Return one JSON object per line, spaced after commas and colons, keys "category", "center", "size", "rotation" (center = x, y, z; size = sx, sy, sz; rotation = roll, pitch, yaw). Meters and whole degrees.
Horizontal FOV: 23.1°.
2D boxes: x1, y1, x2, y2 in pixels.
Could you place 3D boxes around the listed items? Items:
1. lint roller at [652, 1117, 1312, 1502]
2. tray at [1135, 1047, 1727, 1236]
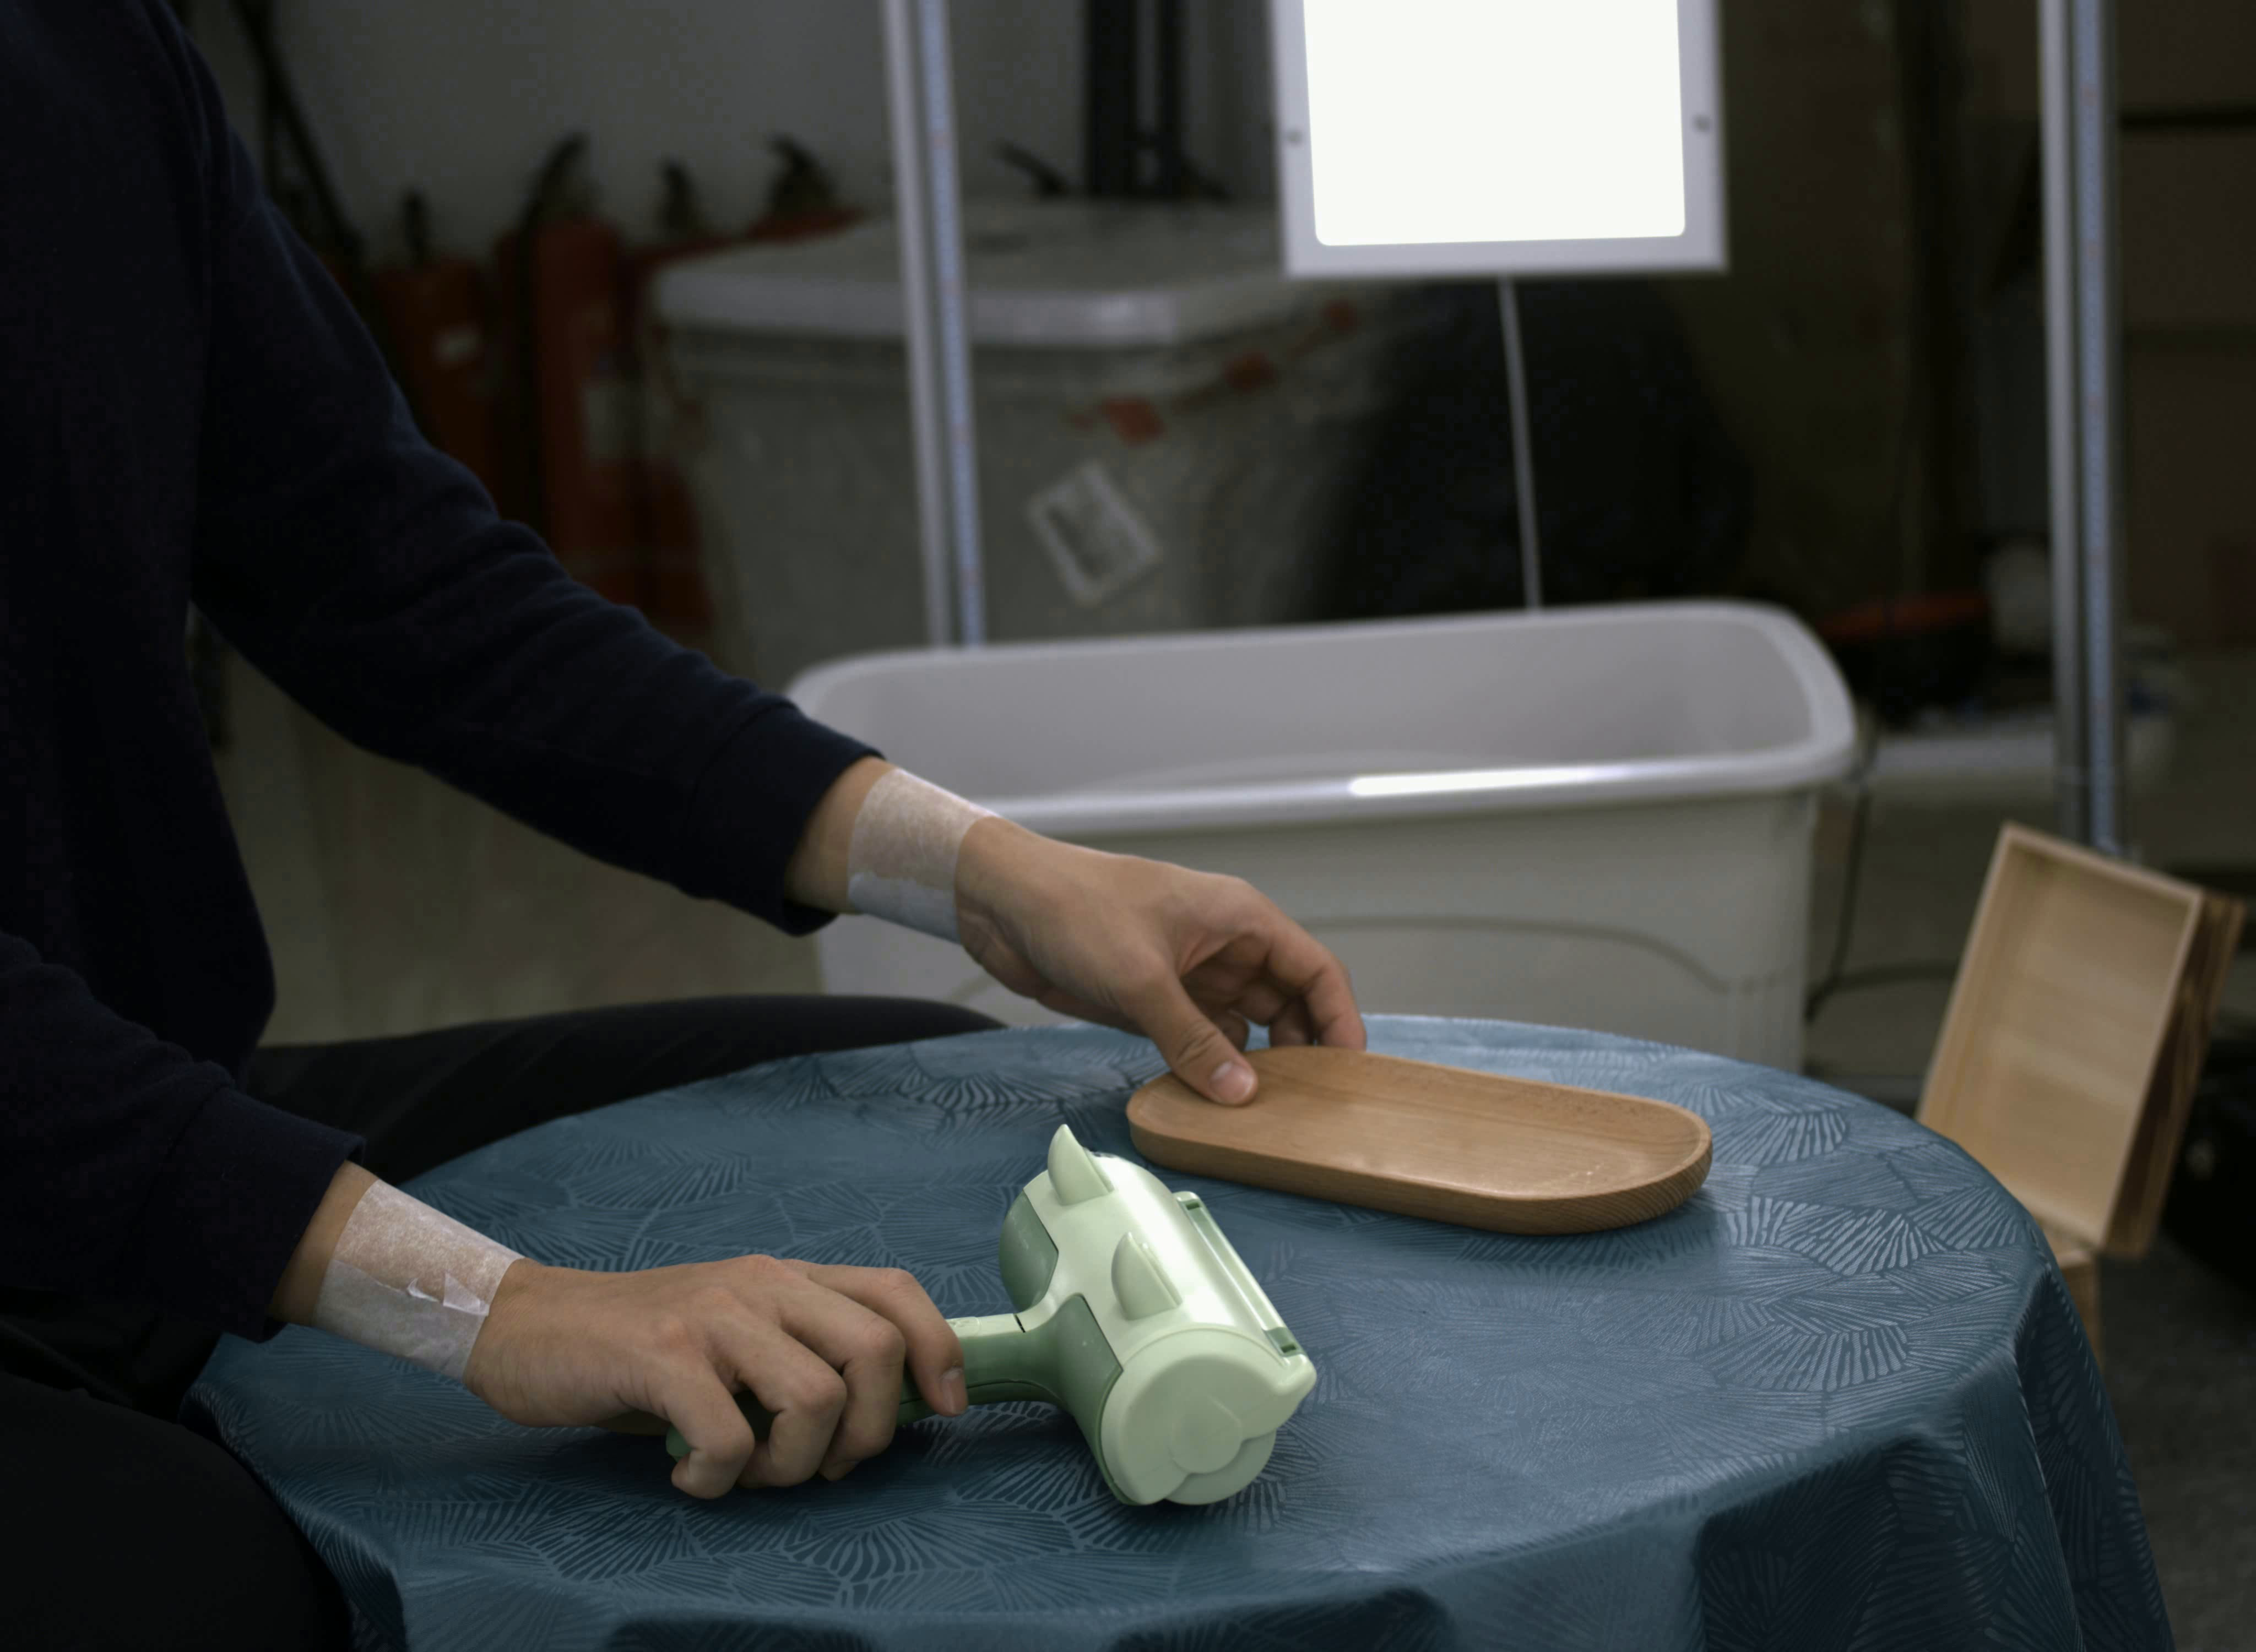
{"category": "lint roller", "center": [-0.052, 0.144, 1.663], "size": [0.181, 0.082, 0.199], "rotation": [-1, 13, -9]}
{"category": "tray", "center": [0.103, 0.108, 1.896], "size": [0.236, 0.020, 0.099], "rotation": [9, 24, 41]}
